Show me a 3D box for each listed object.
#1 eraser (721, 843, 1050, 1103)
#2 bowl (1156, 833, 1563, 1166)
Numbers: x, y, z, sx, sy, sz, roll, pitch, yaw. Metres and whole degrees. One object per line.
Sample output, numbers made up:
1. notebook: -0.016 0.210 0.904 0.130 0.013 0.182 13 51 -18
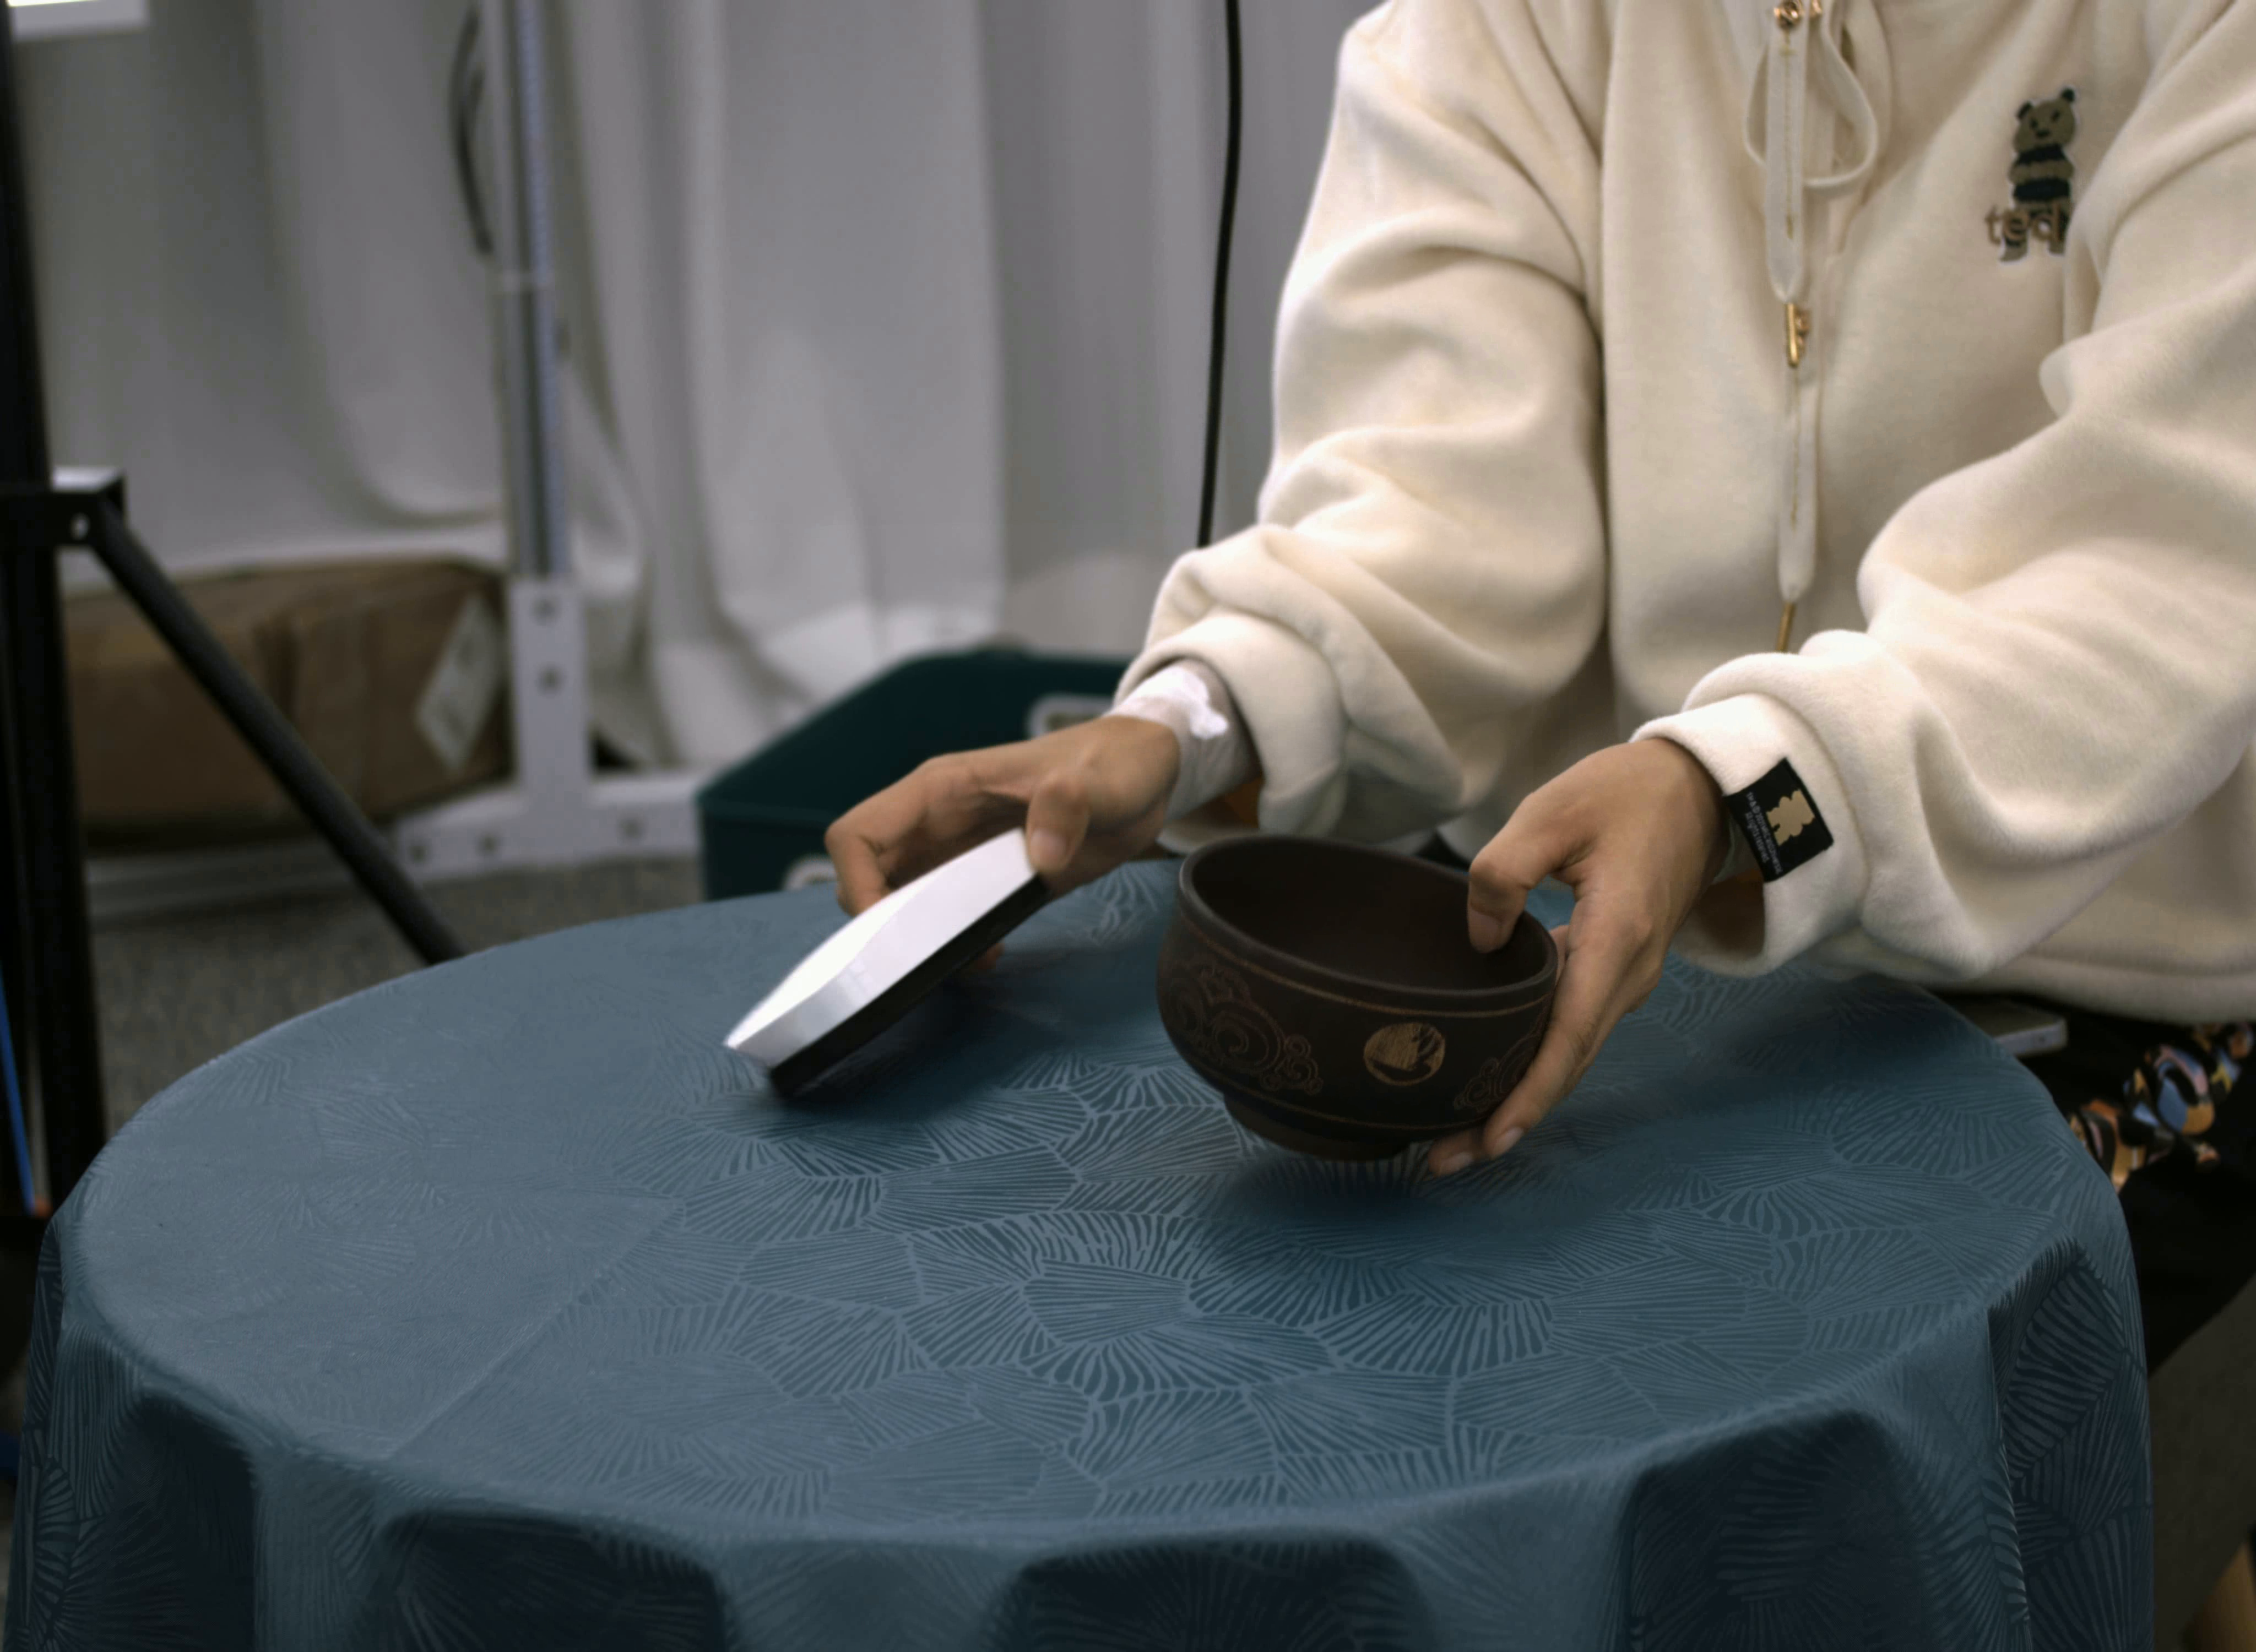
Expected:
1. eraser: -0.075 0.043 1.683 0.064 0.034 0.129 -31 4 36
2. bowl: 0.064 0.057 1.556 0.117 0.070 0.119 13 20 -6
